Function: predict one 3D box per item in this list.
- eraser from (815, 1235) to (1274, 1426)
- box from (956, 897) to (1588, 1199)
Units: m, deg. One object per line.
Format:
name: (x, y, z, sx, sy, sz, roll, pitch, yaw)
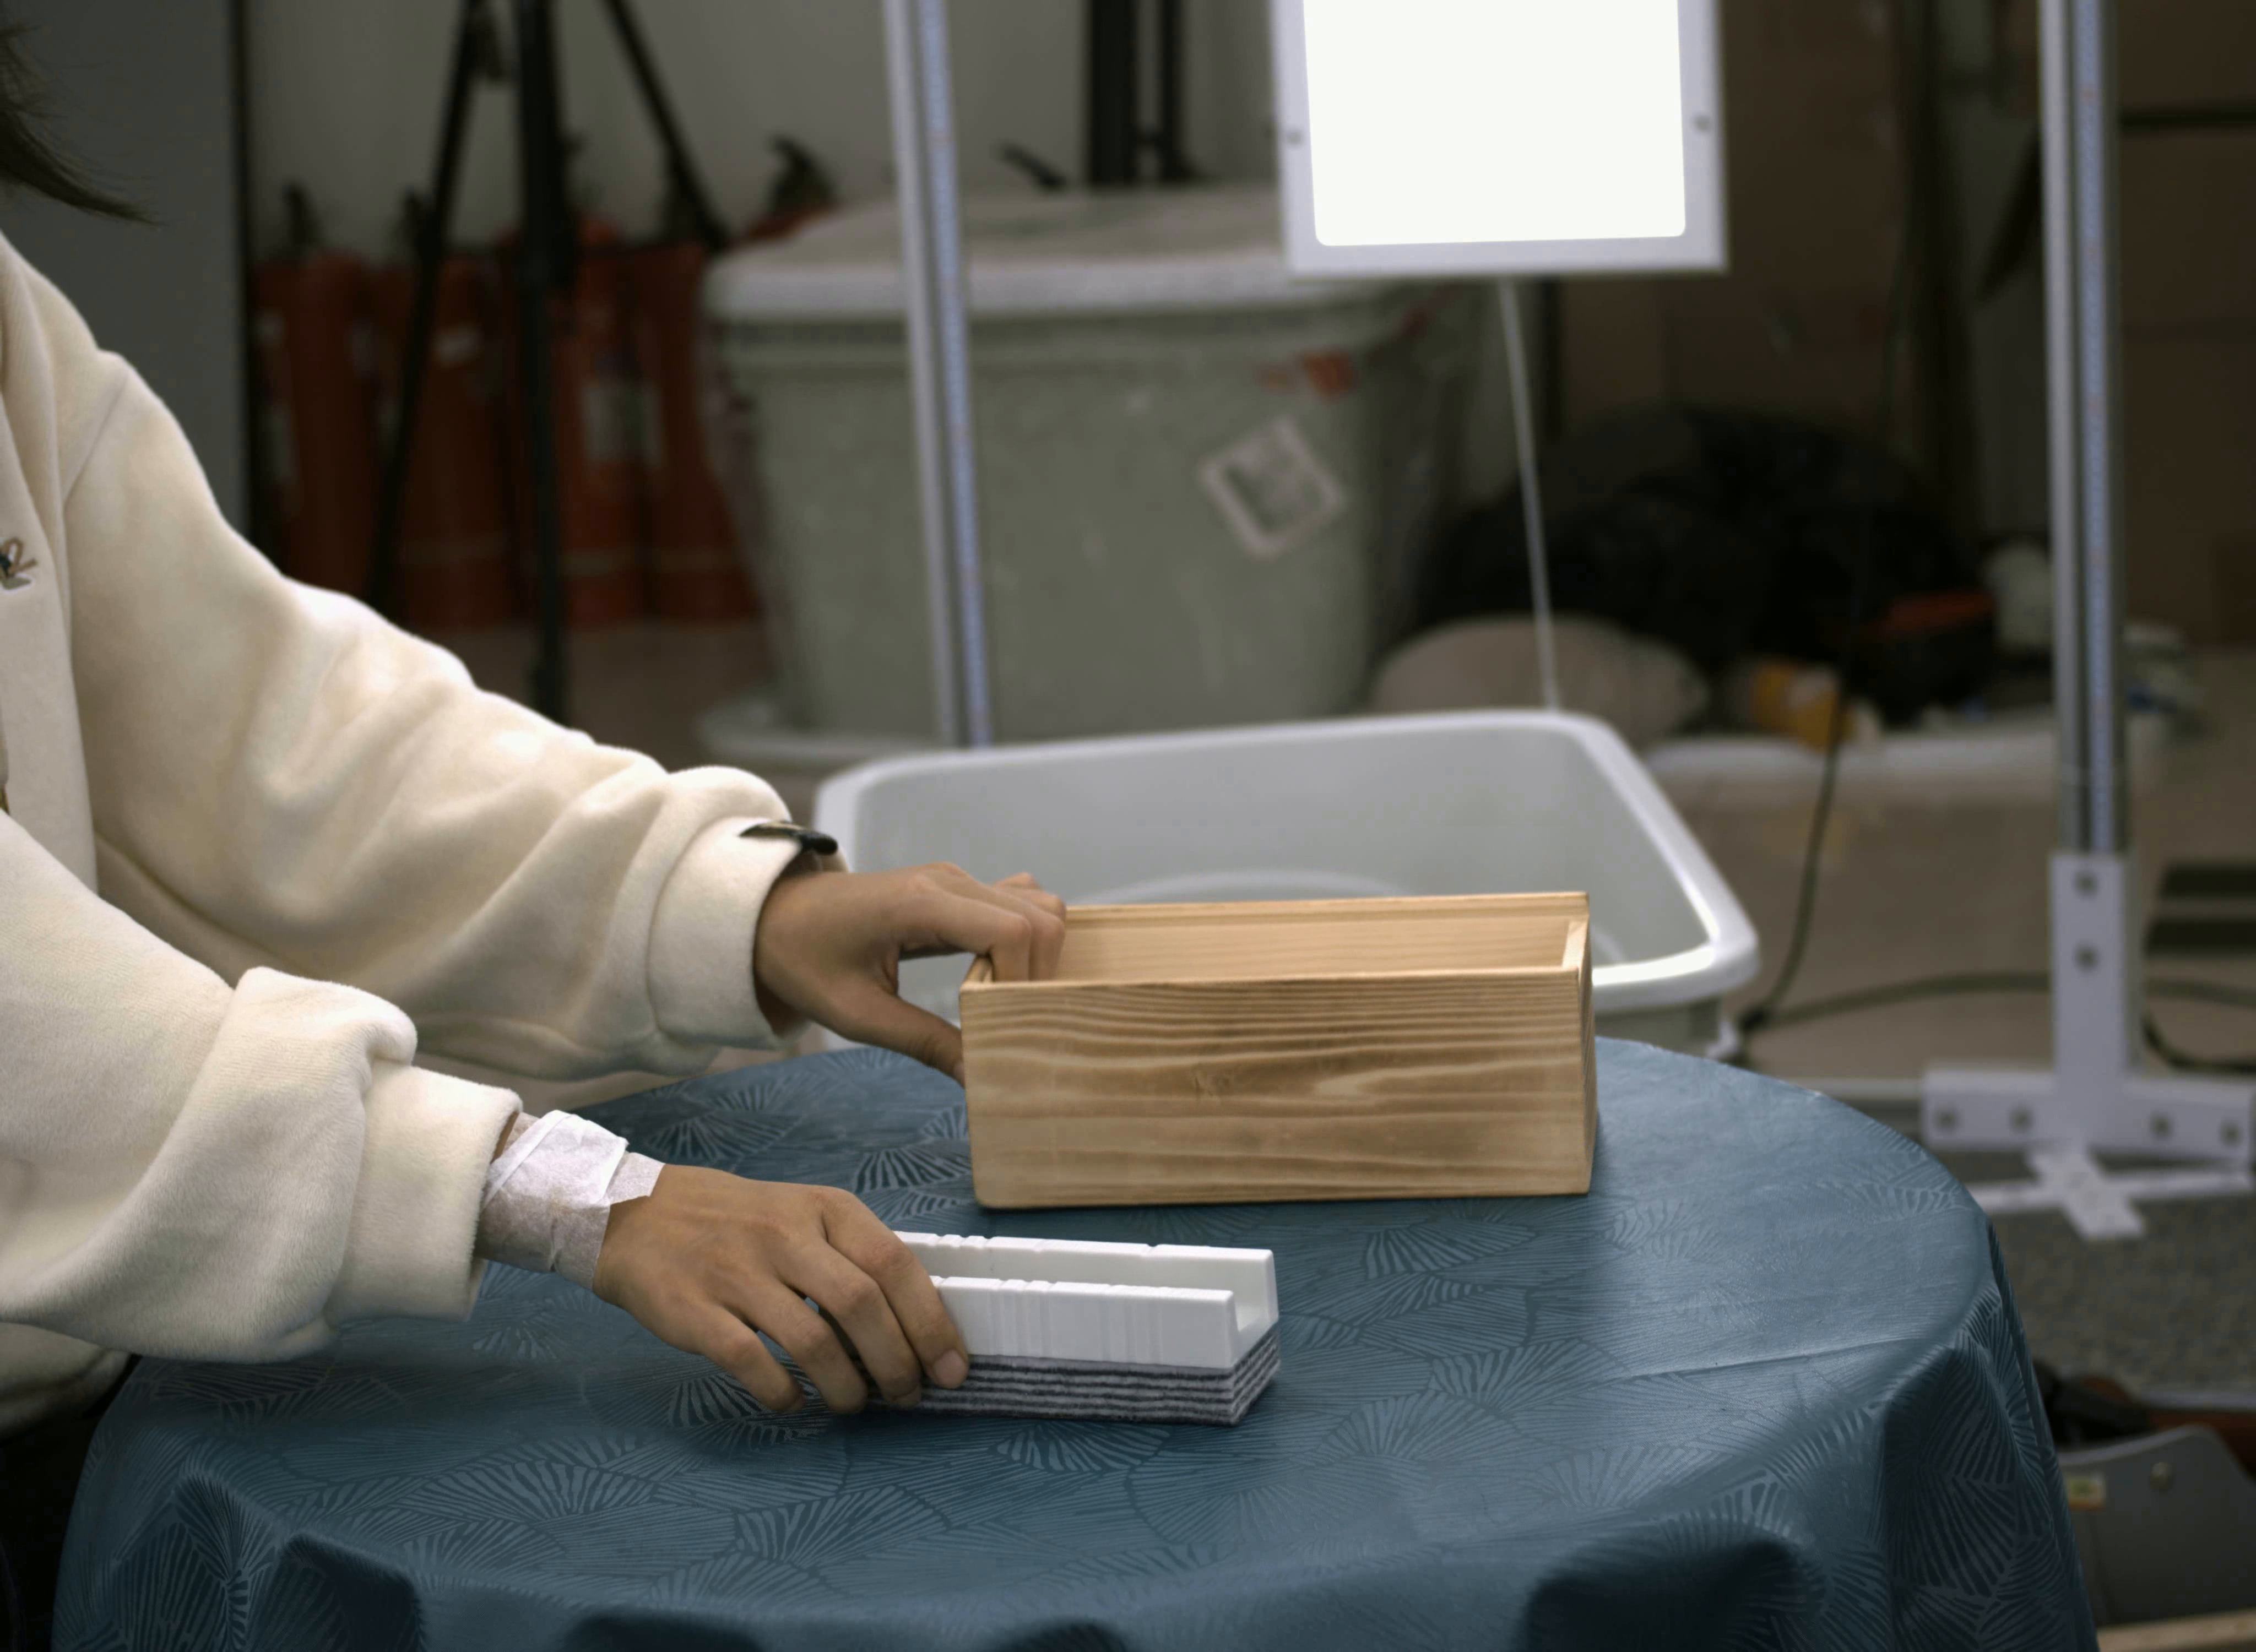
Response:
eraser: (-0.025, 0.154, 1.696, 0.136, 0.047, 0.049, 1, 17, 19)
box: (0.053, 0.076, 1.907, 0.212, 0.080, 0.106, -1, 13, 8)
